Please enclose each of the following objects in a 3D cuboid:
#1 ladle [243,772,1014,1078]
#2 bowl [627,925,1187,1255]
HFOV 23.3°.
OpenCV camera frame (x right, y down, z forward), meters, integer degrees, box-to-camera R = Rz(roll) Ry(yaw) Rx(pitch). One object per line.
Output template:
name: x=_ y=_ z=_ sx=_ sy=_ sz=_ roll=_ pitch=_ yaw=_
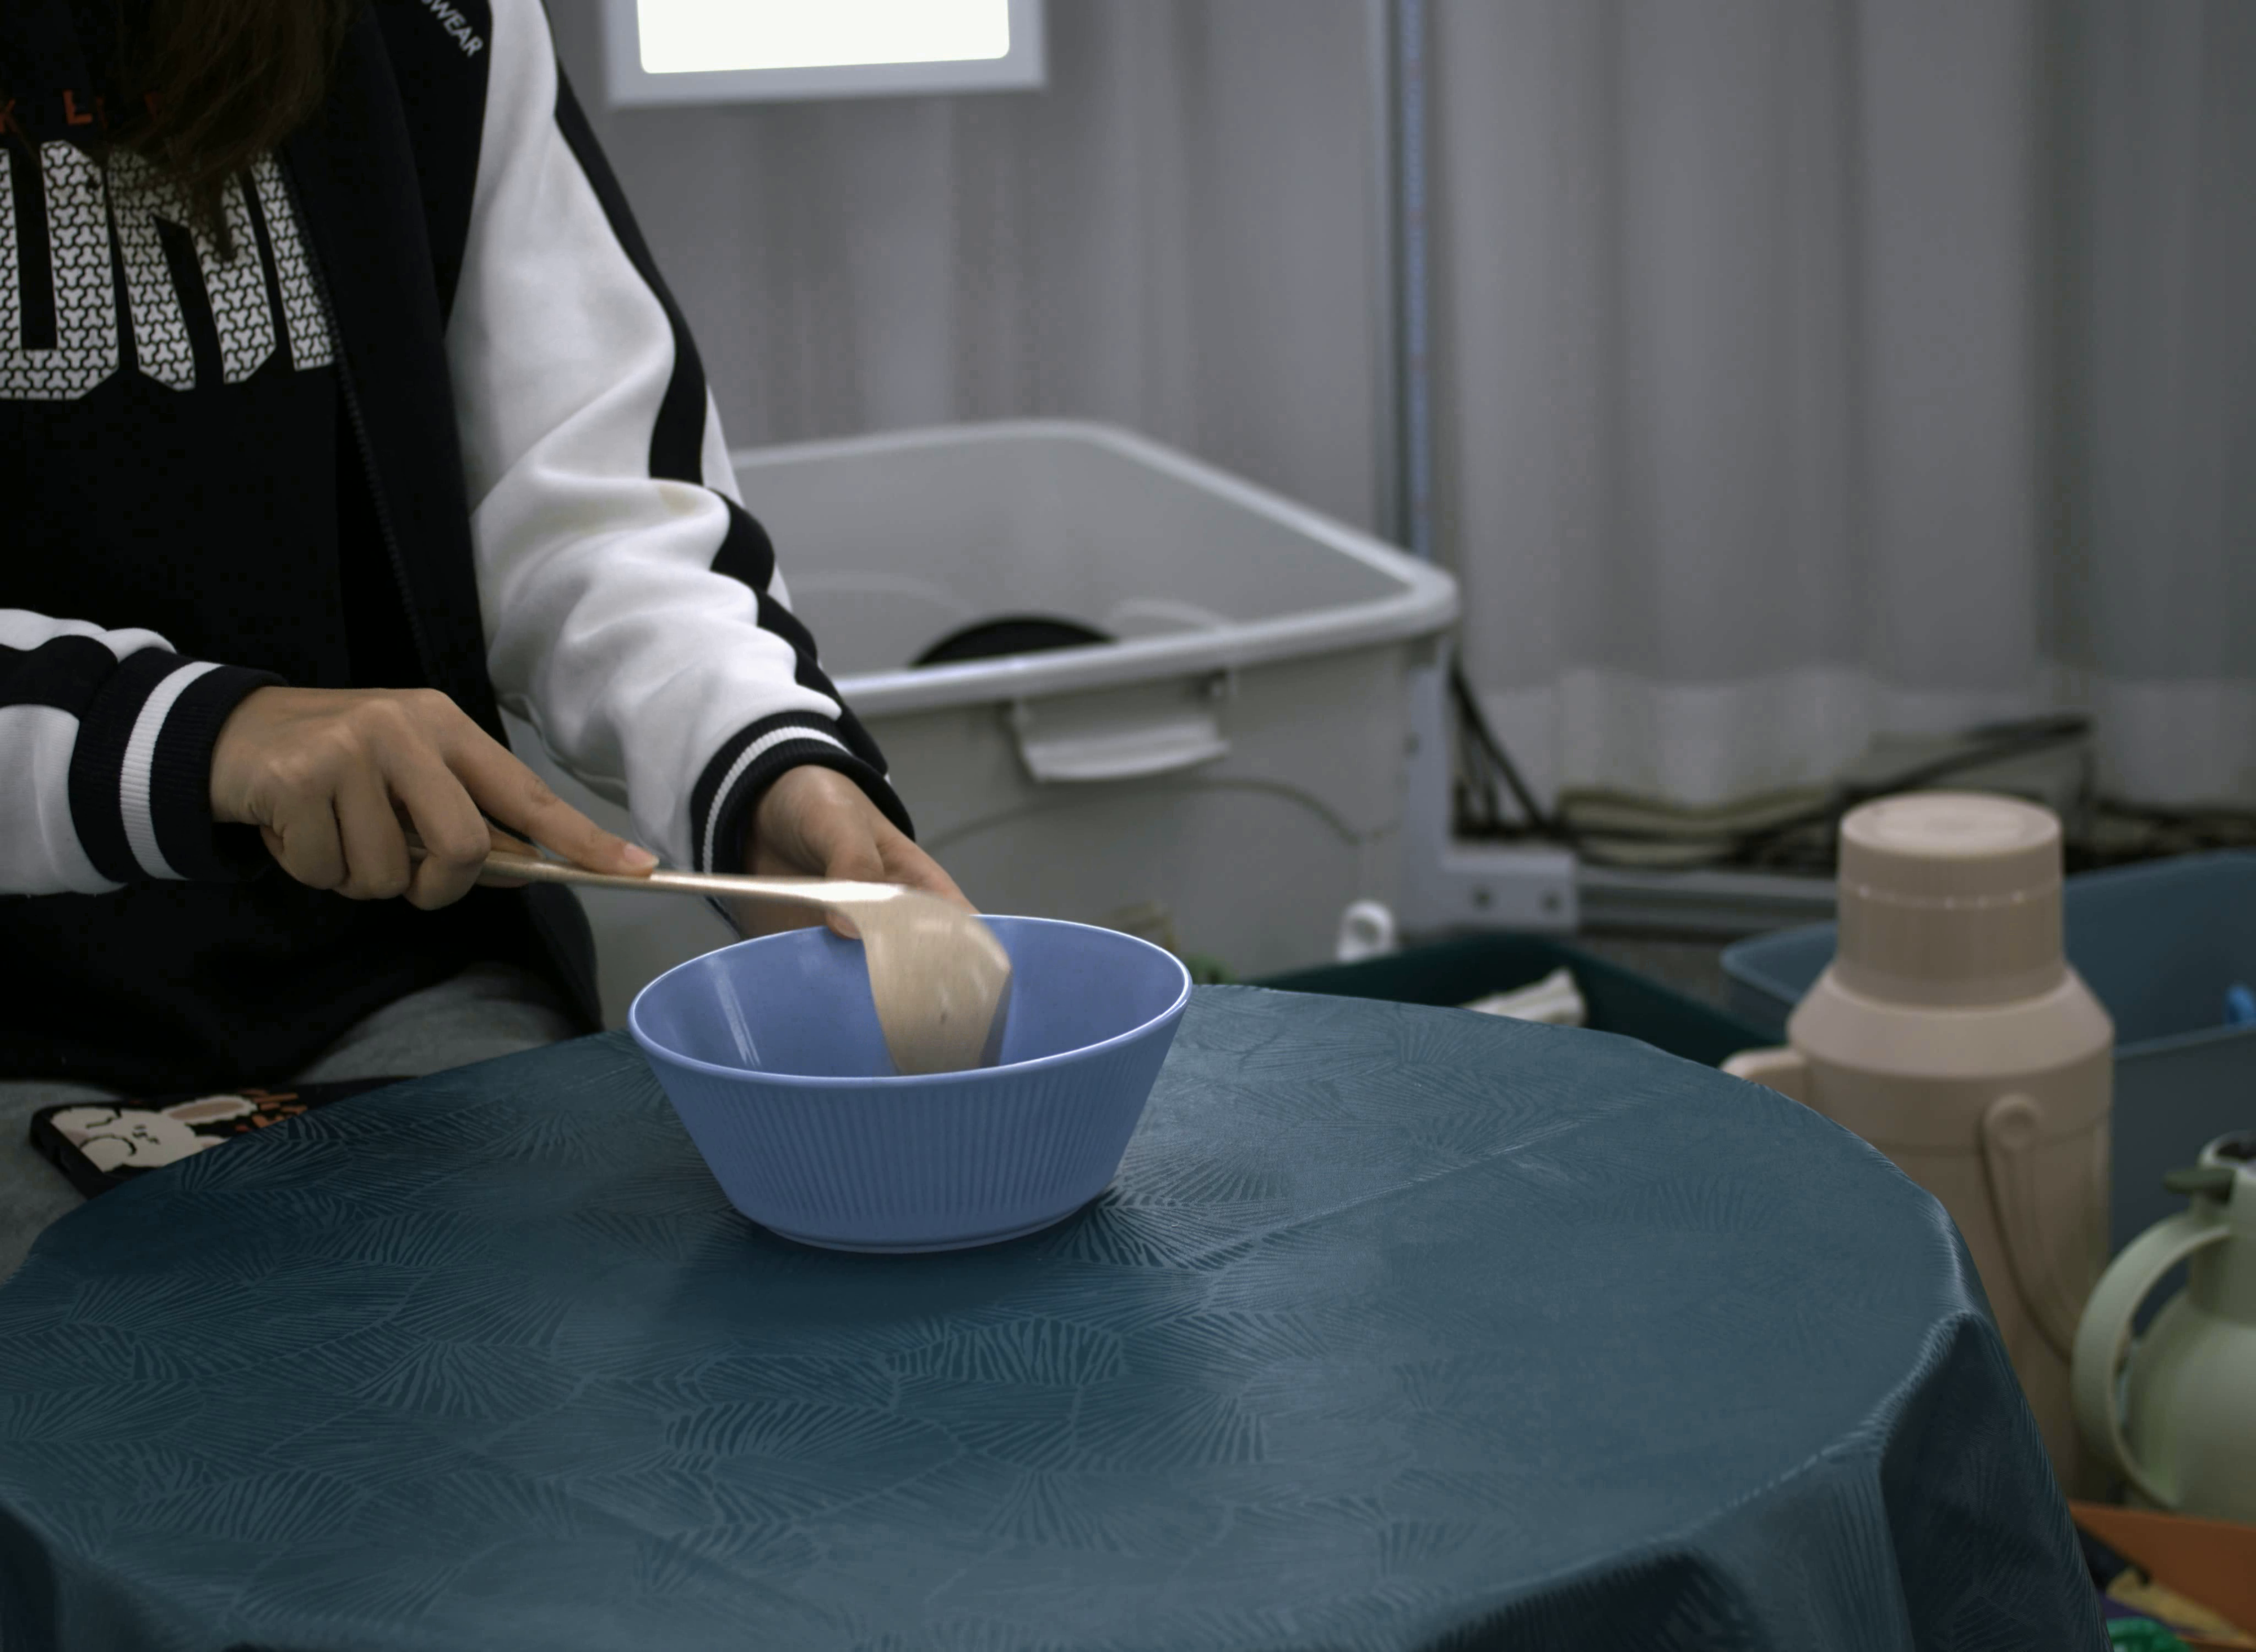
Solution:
ladle: x=-0.162 y=0.042 z=1.726 sx=0.254 sy=0.072 sz=0.072 roll=11 pitch=15 yaw=9
bowl: x=-0.068 y=0.085 z=1.709 sx=0.175 sy=0.070 sz=0.177 roll=-2 pitch=14 yaw=0
